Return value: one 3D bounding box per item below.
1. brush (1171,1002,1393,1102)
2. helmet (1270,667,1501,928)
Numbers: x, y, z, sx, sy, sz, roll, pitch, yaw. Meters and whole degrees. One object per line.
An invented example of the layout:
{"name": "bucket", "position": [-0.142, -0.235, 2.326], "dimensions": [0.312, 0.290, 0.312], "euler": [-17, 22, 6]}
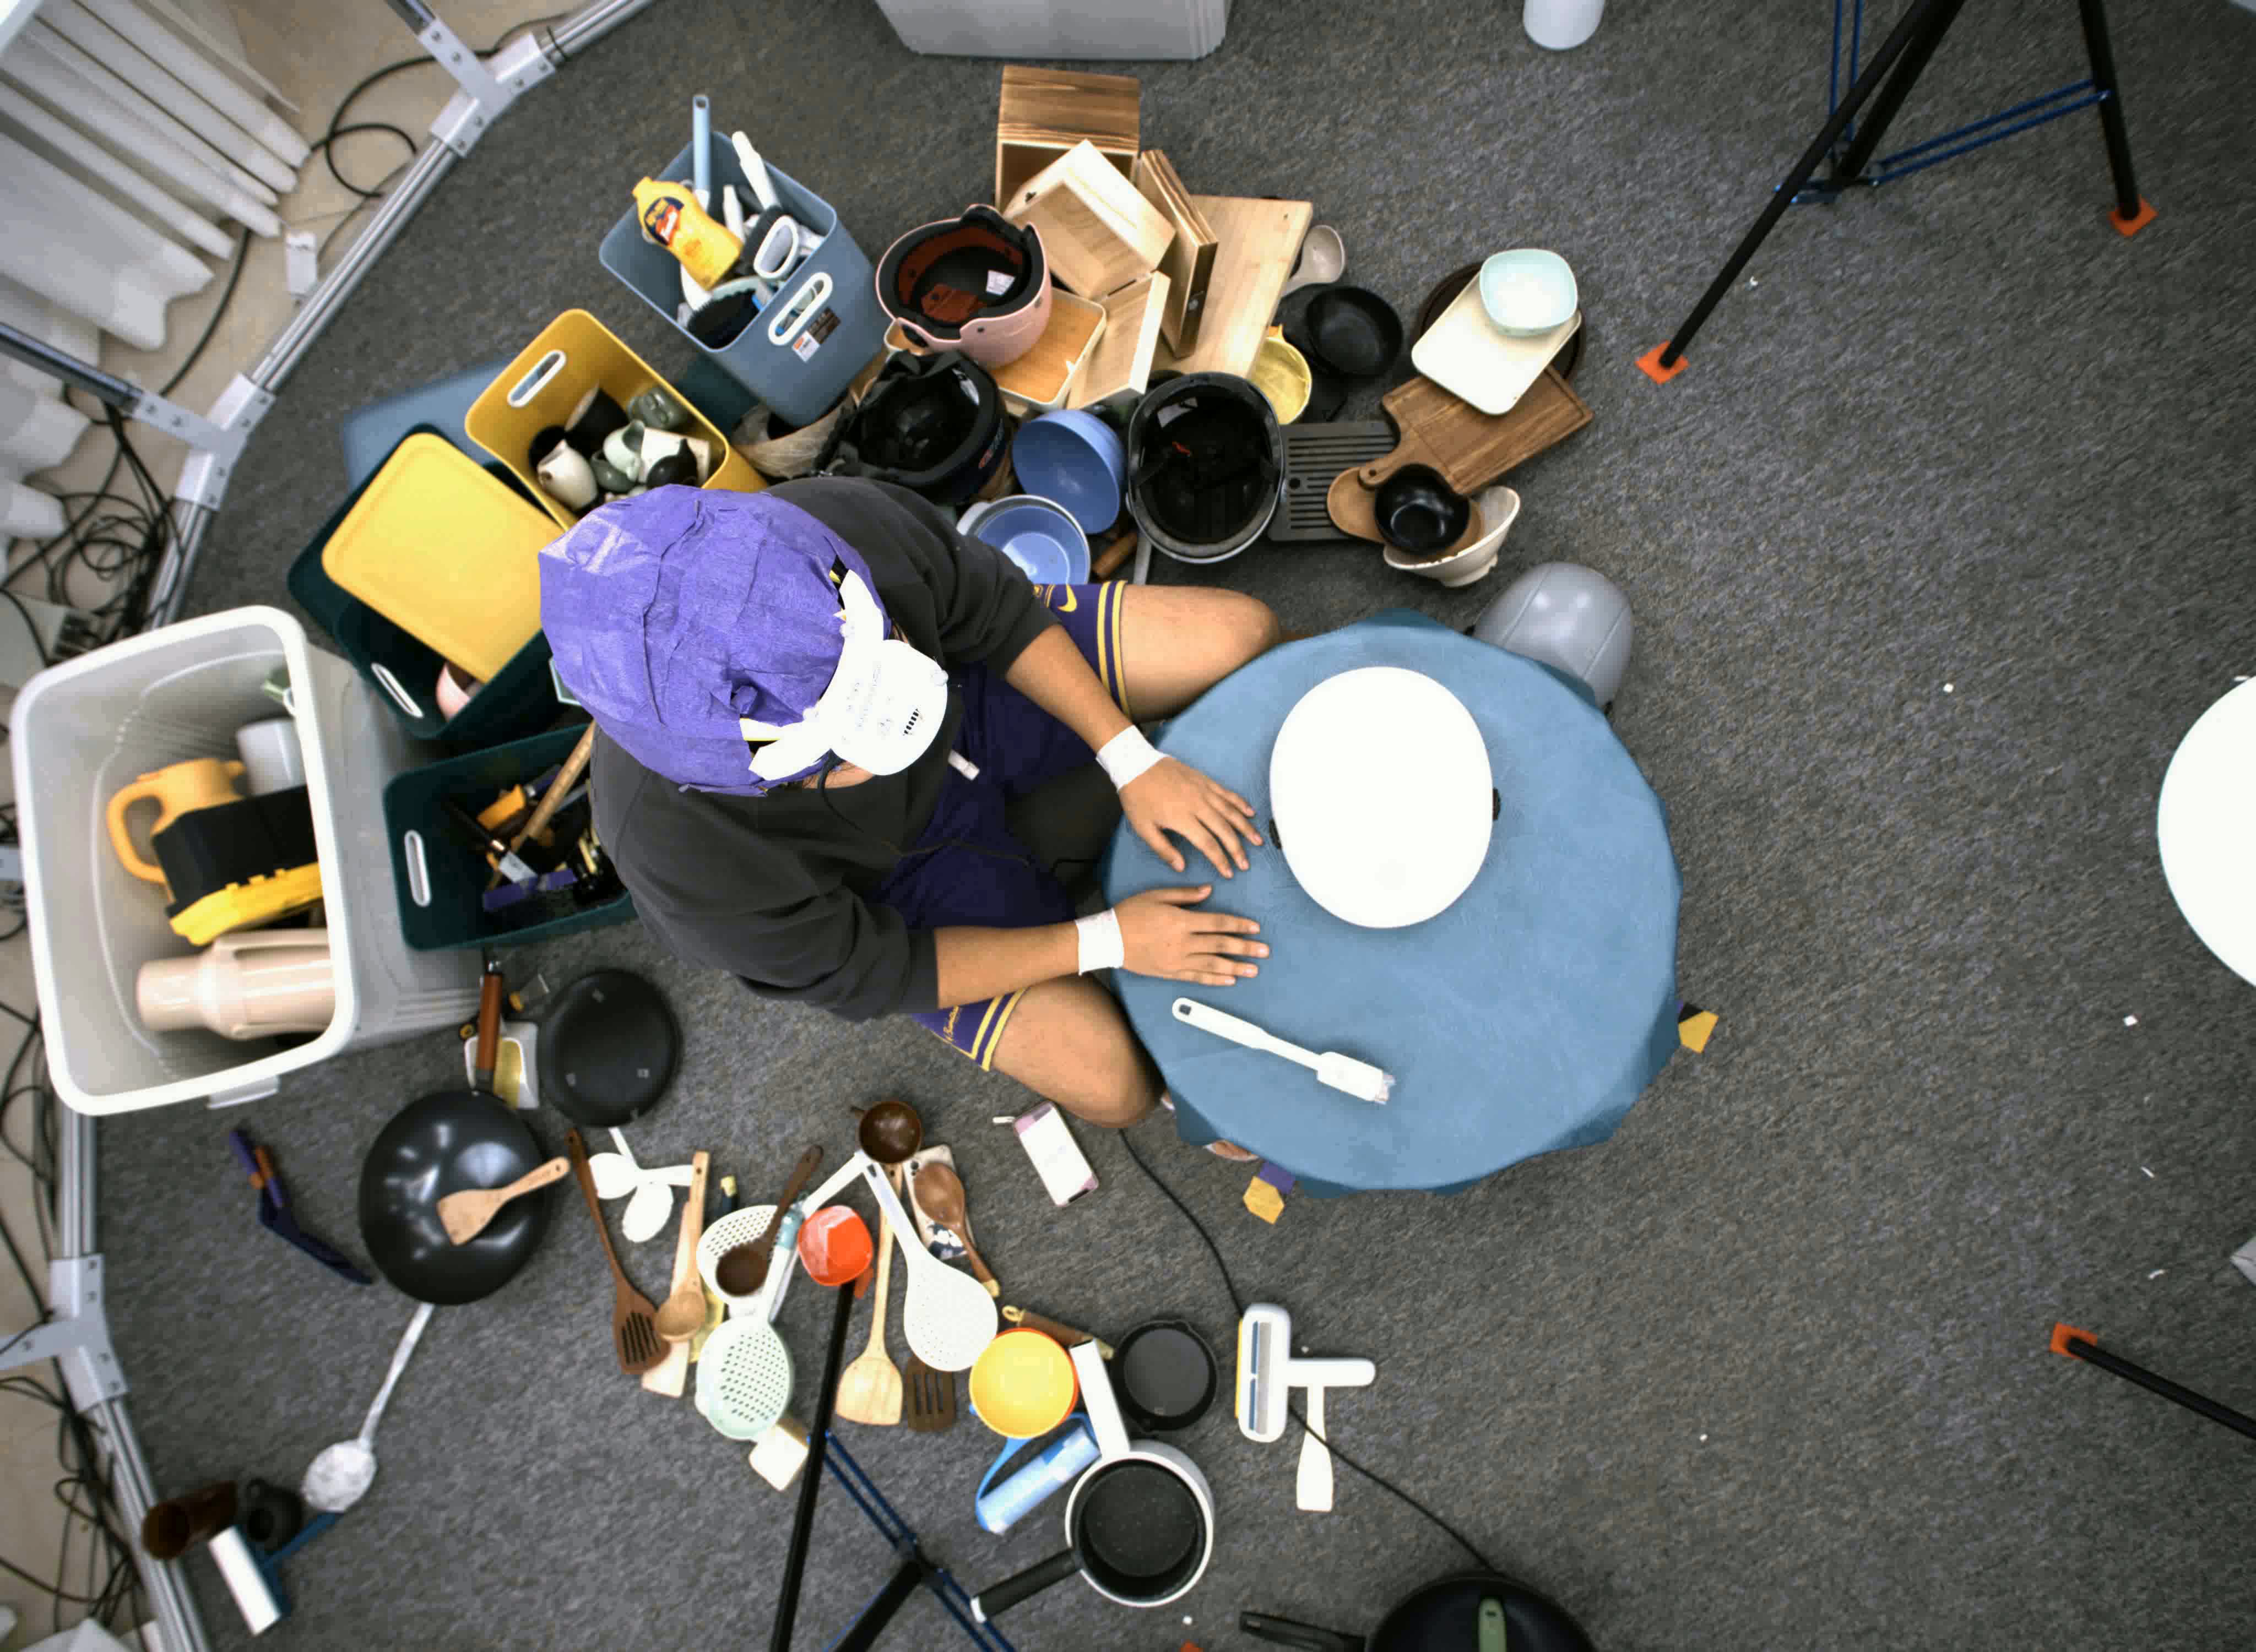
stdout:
{"name": "brush", "position": [0.160, 0.234, 1.459], "dimensions": [0.243, 0.050, 0.034], "euler": [17, 83, 24]}
{"name": "helmet", "position": [0.257, -0.035, 1.385], "dimensions": [0.238, 0.167, 0.267], "euler": [-6, 85, 9]}
